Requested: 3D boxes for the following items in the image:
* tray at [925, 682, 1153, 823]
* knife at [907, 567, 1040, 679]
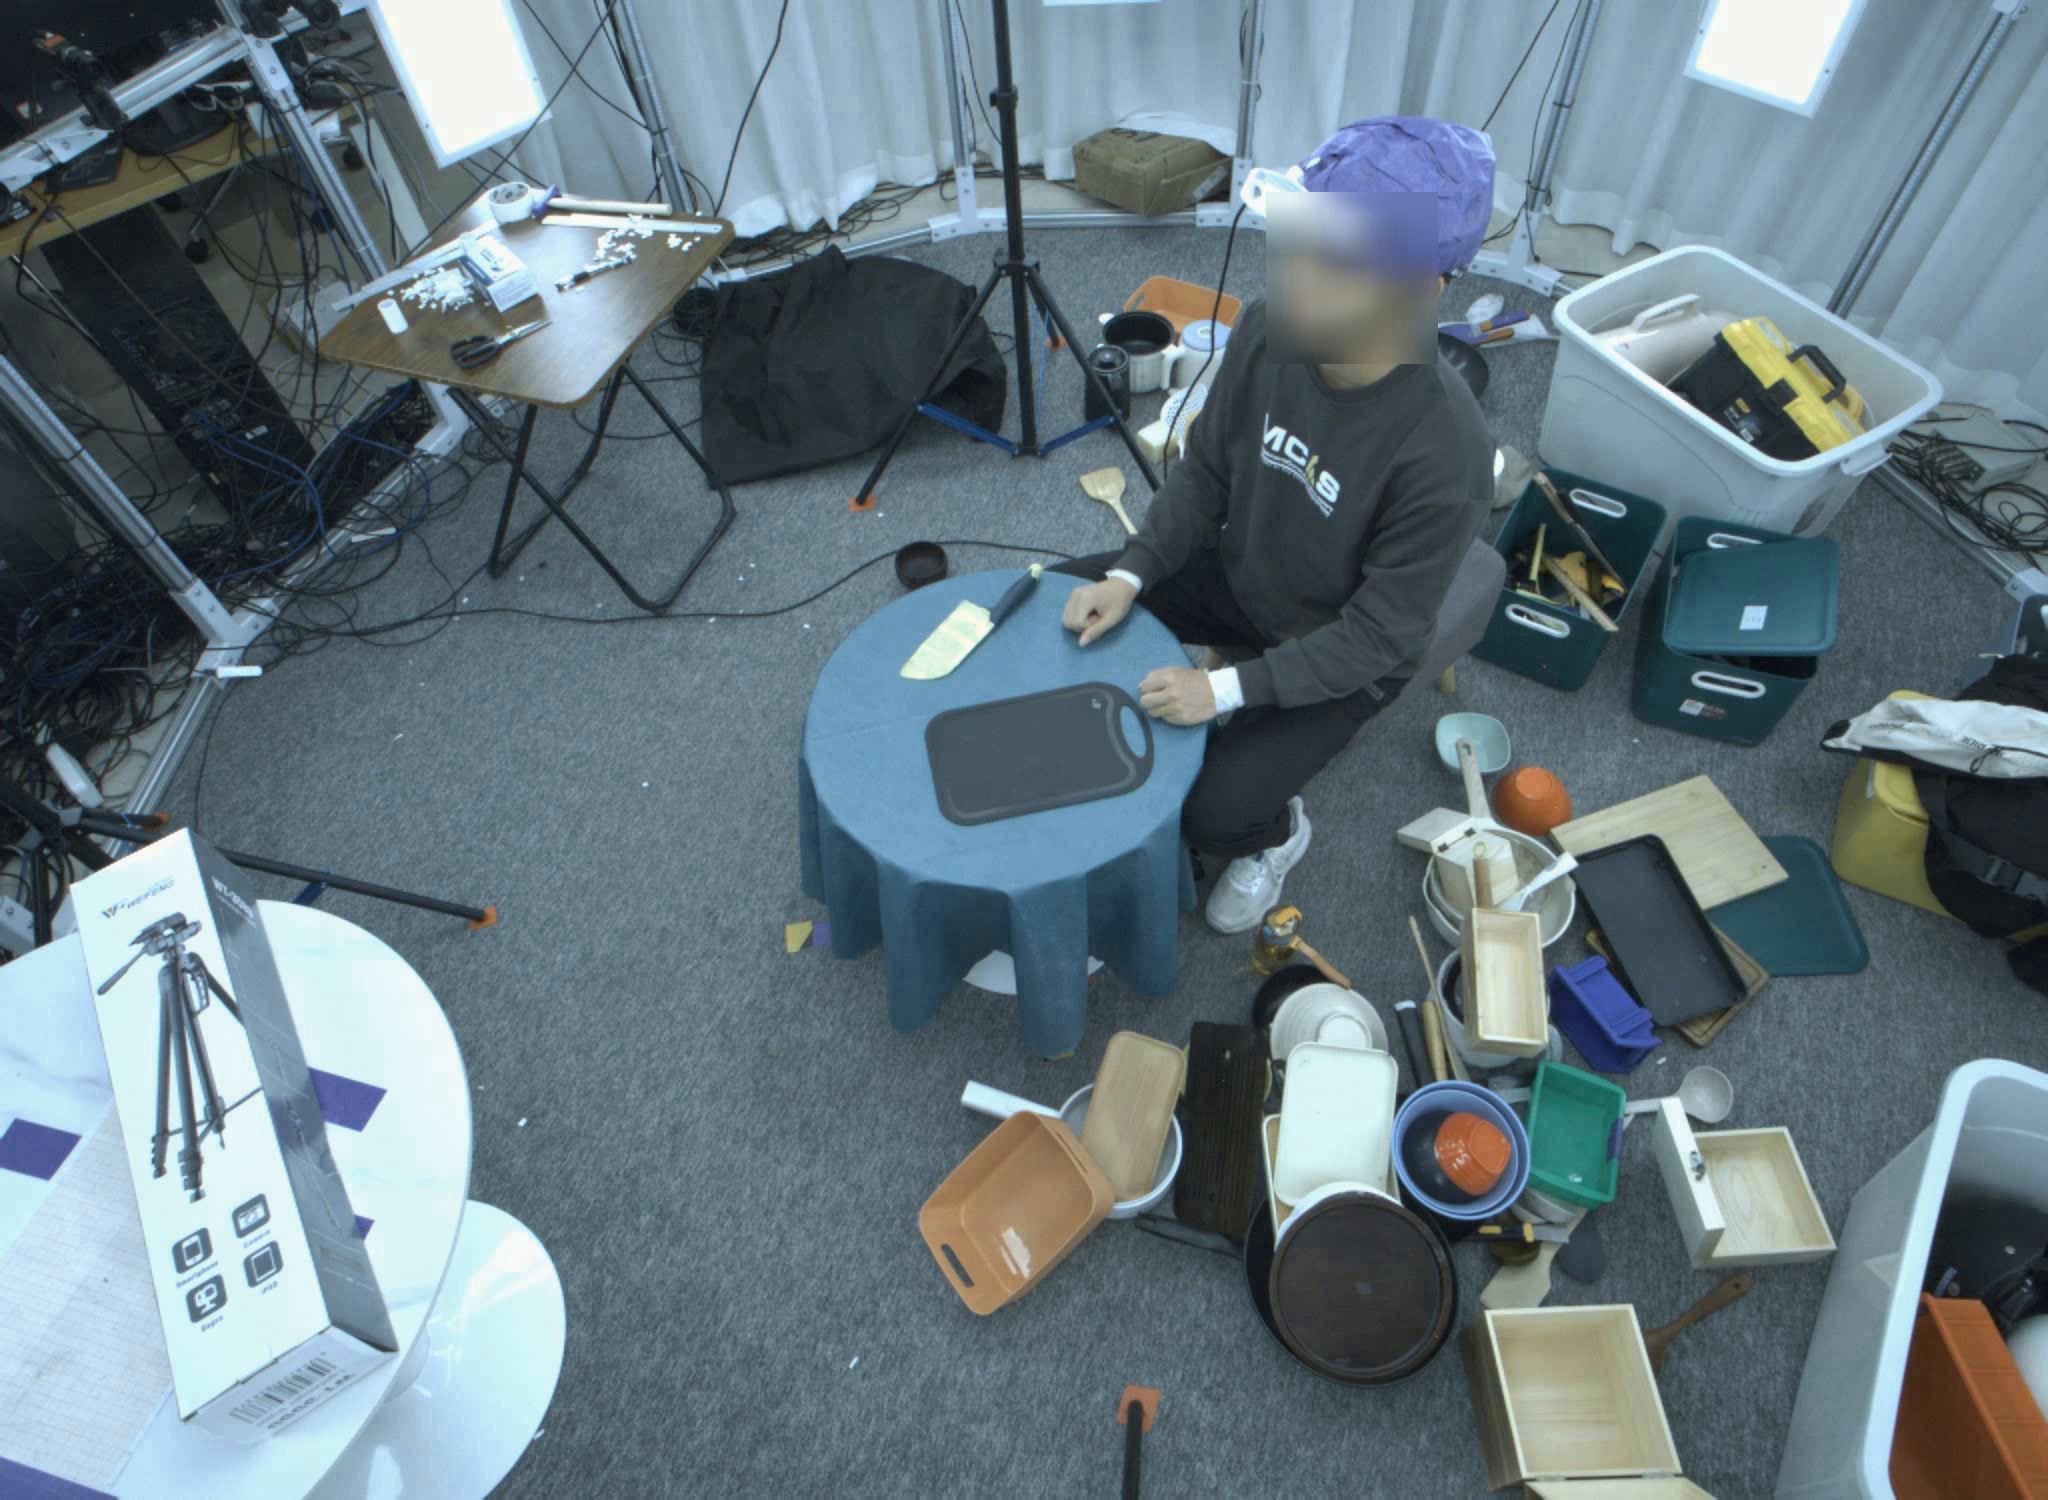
[{"bbox_3d":[0.024,-0.004,1.793,0.327,0.010,0.208,-11,55,-6],"label":"tray"},{"bbox_3d":[-0.080,-0.204,1.934,0.080,0.027,0.291,35,63,21],"label":"knife"}]
